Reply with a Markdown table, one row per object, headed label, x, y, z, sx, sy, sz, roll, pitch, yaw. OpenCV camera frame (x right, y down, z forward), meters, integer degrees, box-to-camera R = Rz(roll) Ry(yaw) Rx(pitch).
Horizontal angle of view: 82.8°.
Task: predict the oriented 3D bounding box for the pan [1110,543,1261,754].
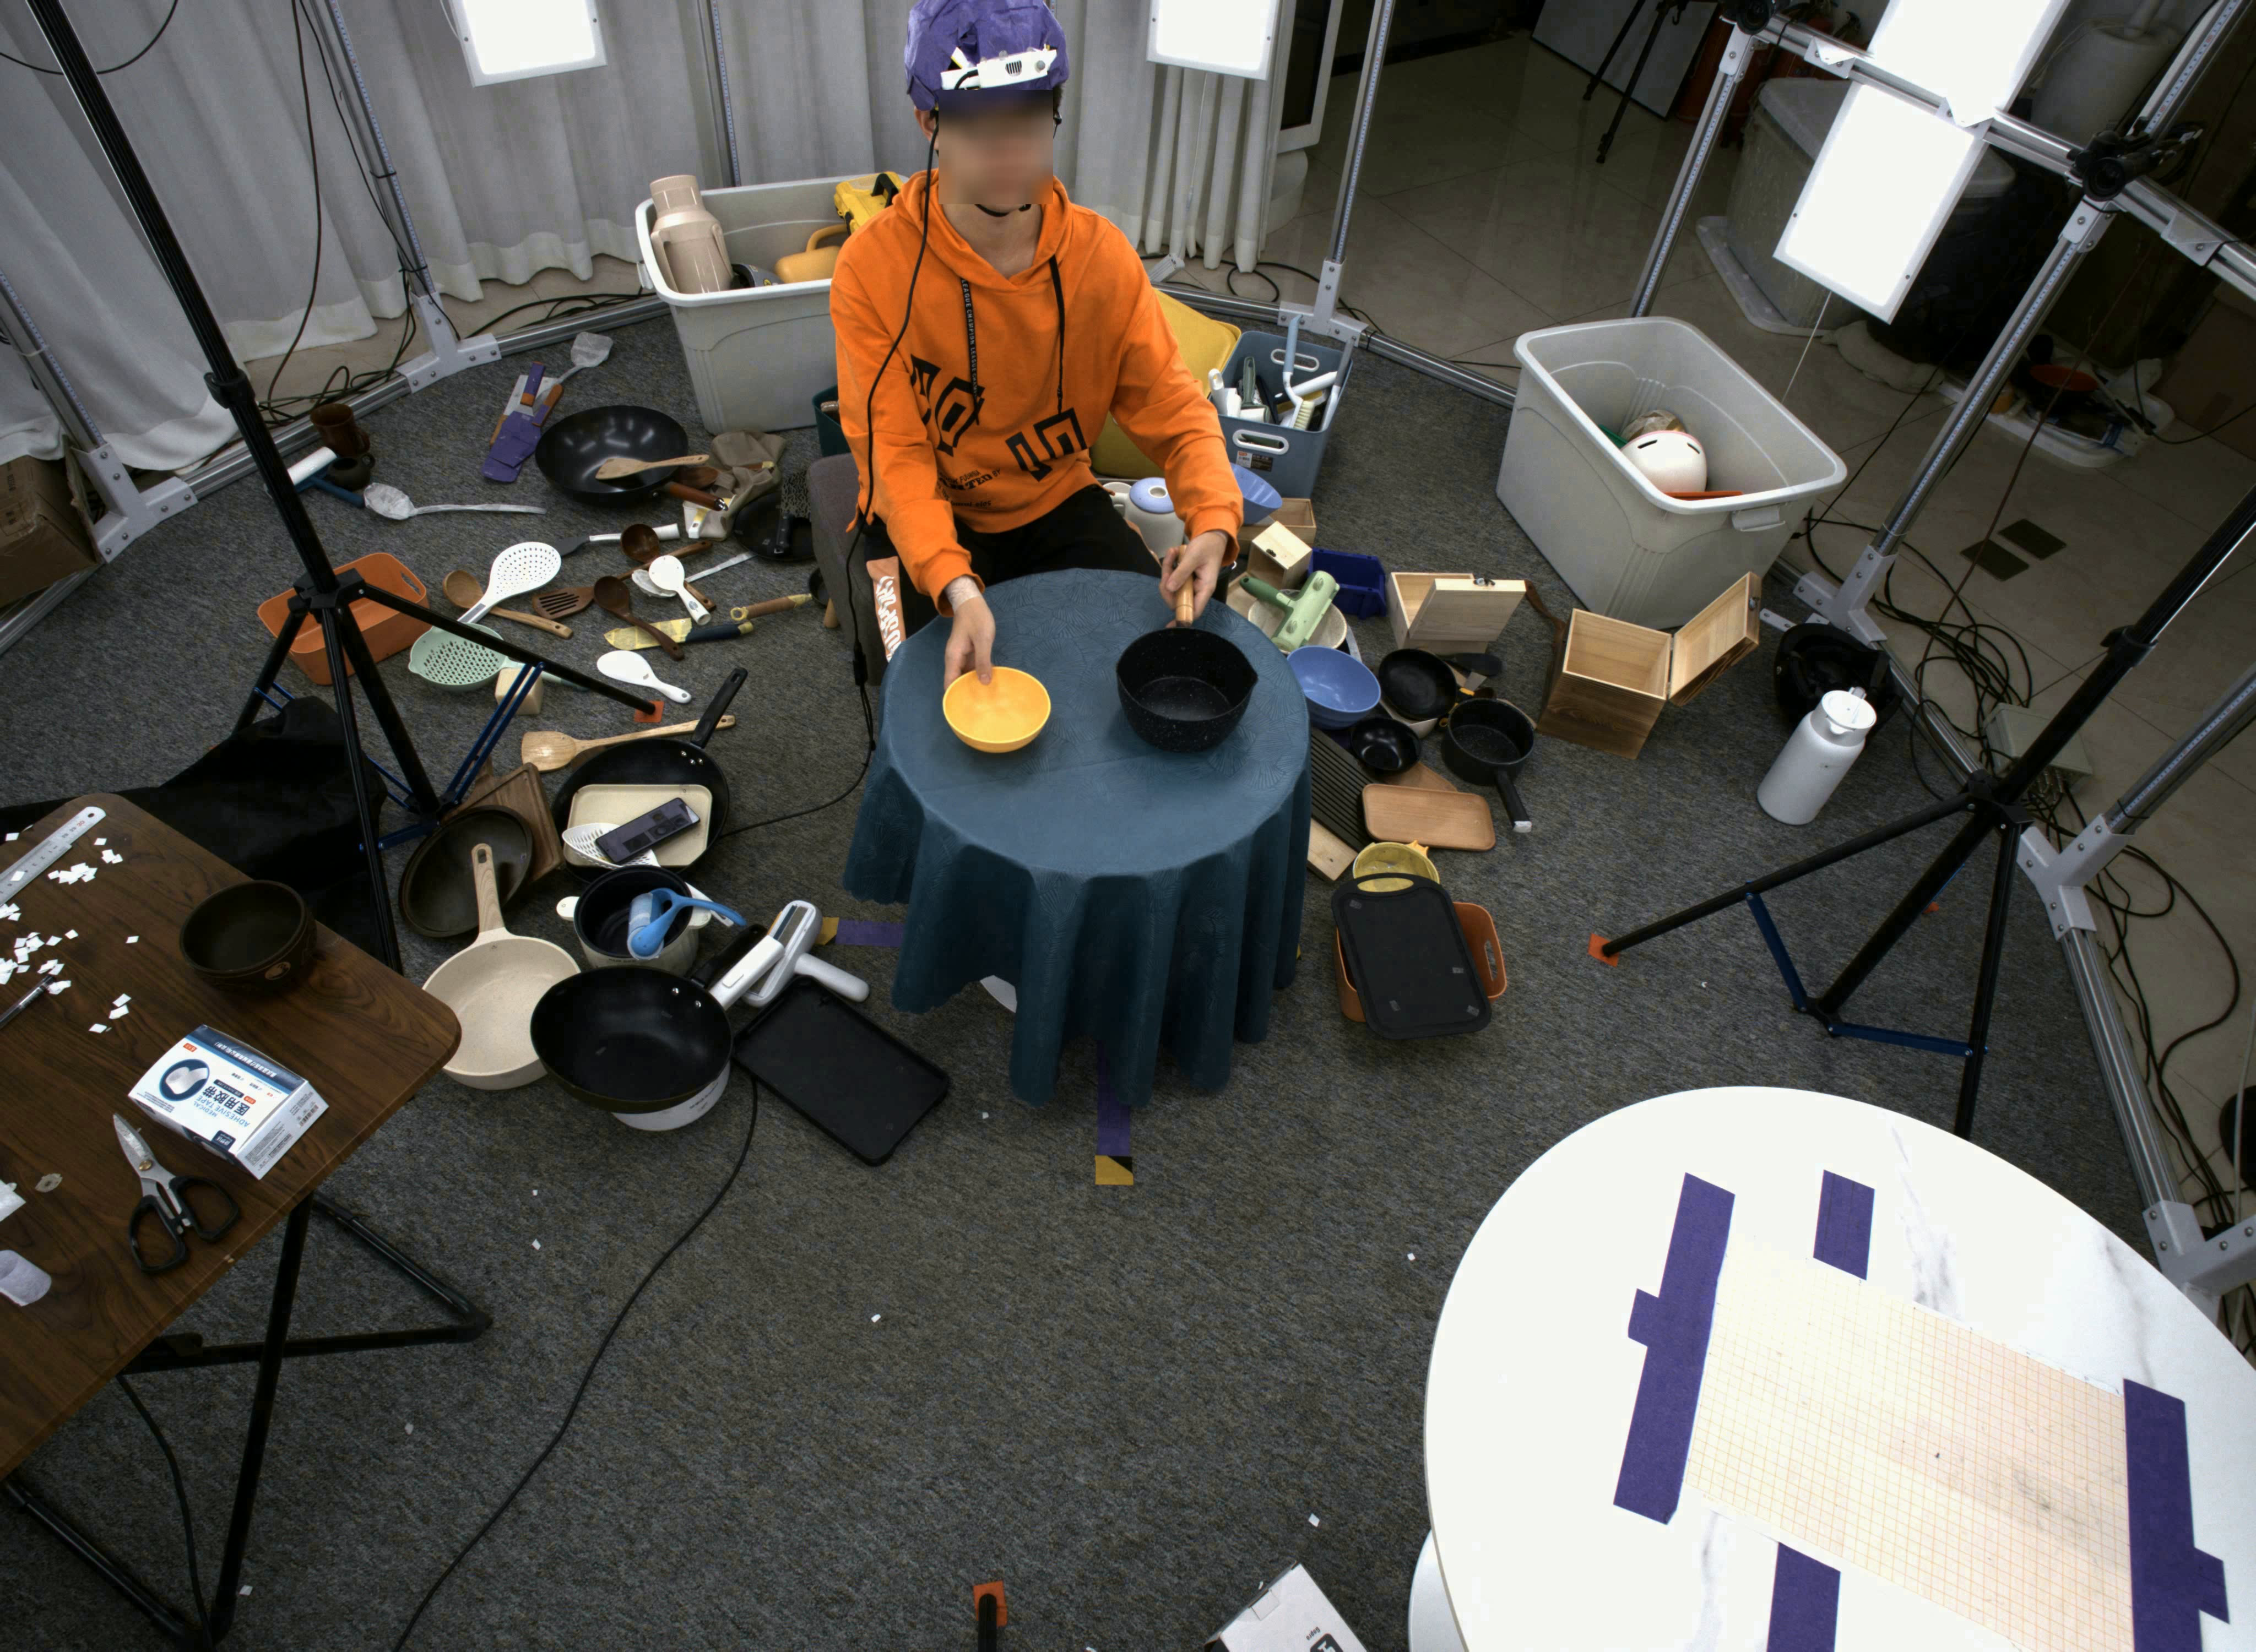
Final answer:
| label | x | y | z | sx | sy | sz | roll | pitch | yaw |
| --- | --- | --- | --- | --- | --- | --- | --- | --- | --- |
| pan | 0.078 | -0.253 | 1.824 | 0.207 | 0.105 | 0.351 | 1 | 50 | -1 |

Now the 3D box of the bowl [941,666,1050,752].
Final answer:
| label | x | y | z | sx | sy | sz | roll | pitch | yaw |
| --- | --- | --- | --- | --- | --- | --- | --- | --- | --- |
| bowl | -0.180 | -0.147 | 1.746 | 0.145 | 0.058 | 0.149 | 3 | 49 | -3 |
